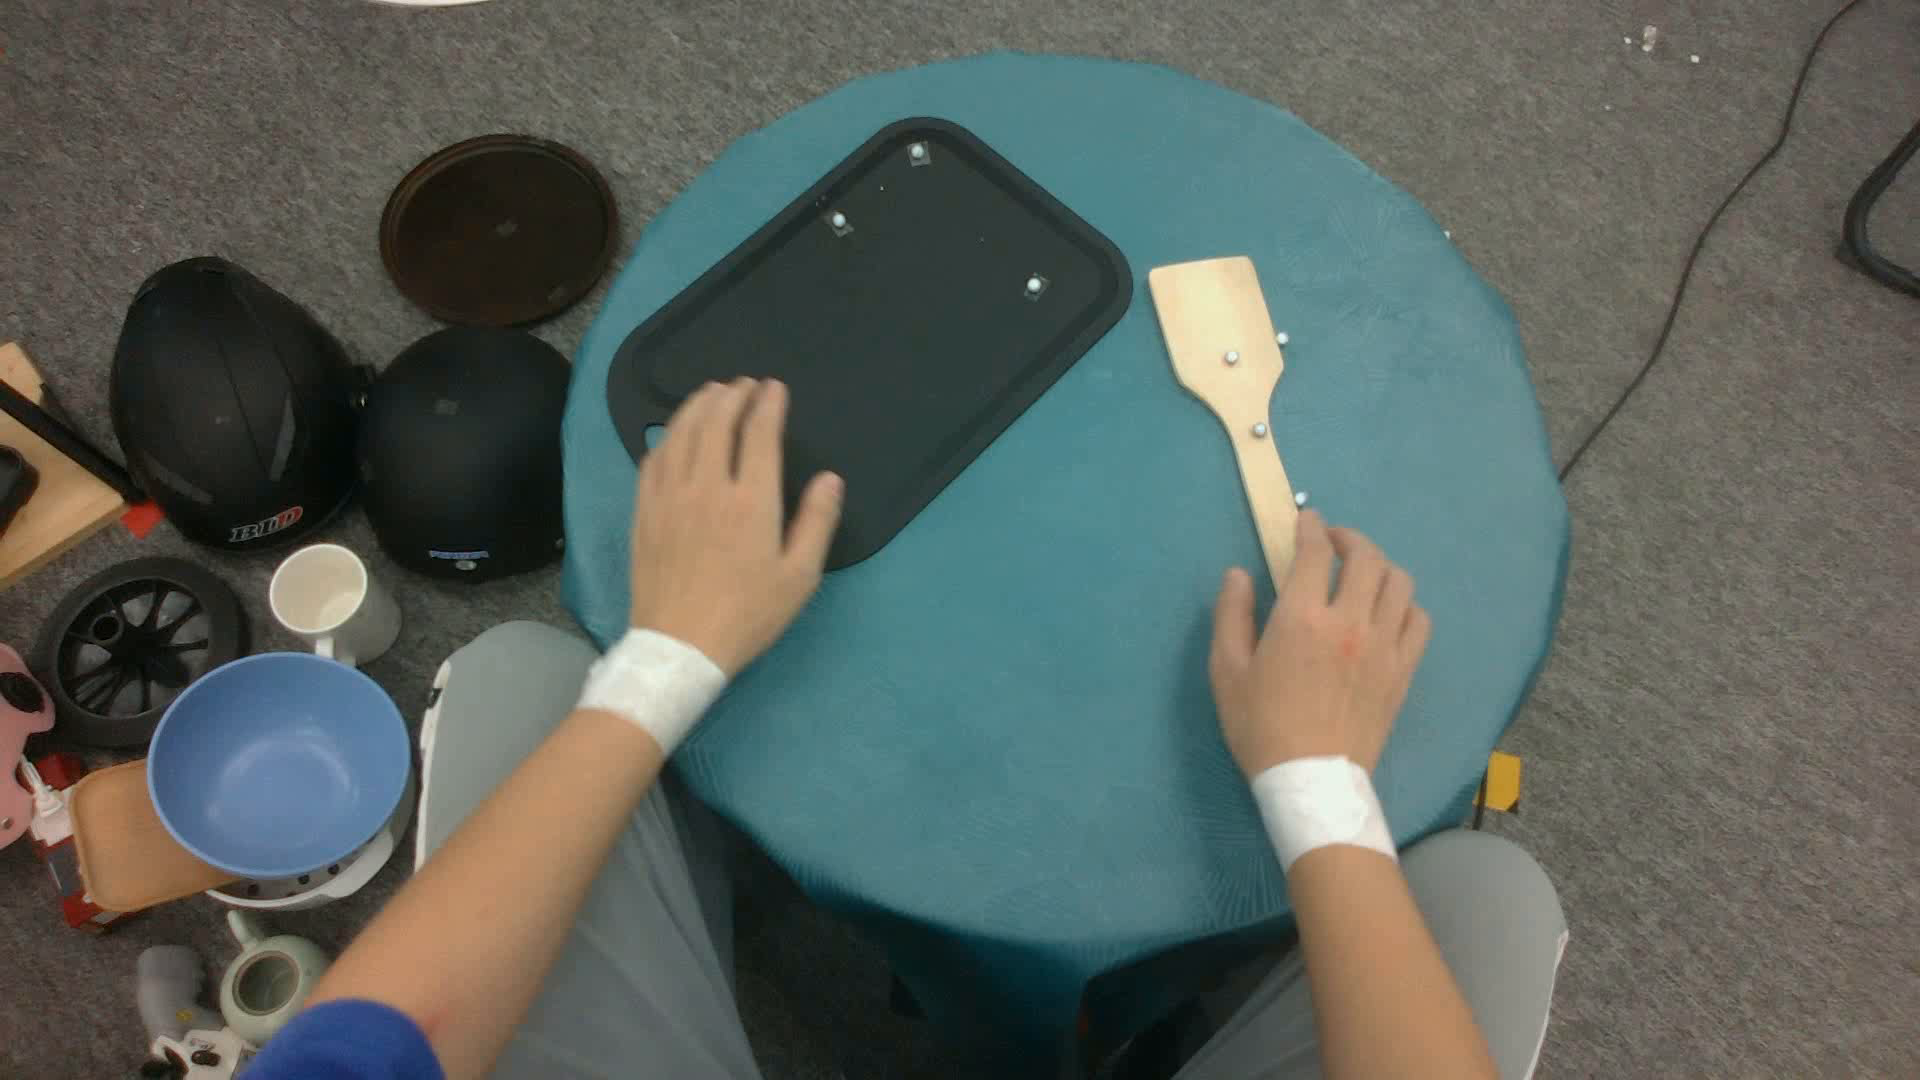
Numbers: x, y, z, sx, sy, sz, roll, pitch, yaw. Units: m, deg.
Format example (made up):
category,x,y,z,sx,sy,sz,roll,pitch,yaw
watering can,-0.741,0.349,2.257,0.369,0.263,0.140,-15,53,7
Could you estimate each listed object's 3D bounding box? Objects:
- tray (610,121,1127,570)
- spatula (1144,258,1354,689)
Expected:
category,x,y,z,sx,sy,sz,roll,pitch,yaw
tray,-0.058,-0.128,0.863,0.211,0.010,0.326,40,70,14
spatula,0.183,-0.048,0.838,0.072,0.010,0.294,-10,67,-8
